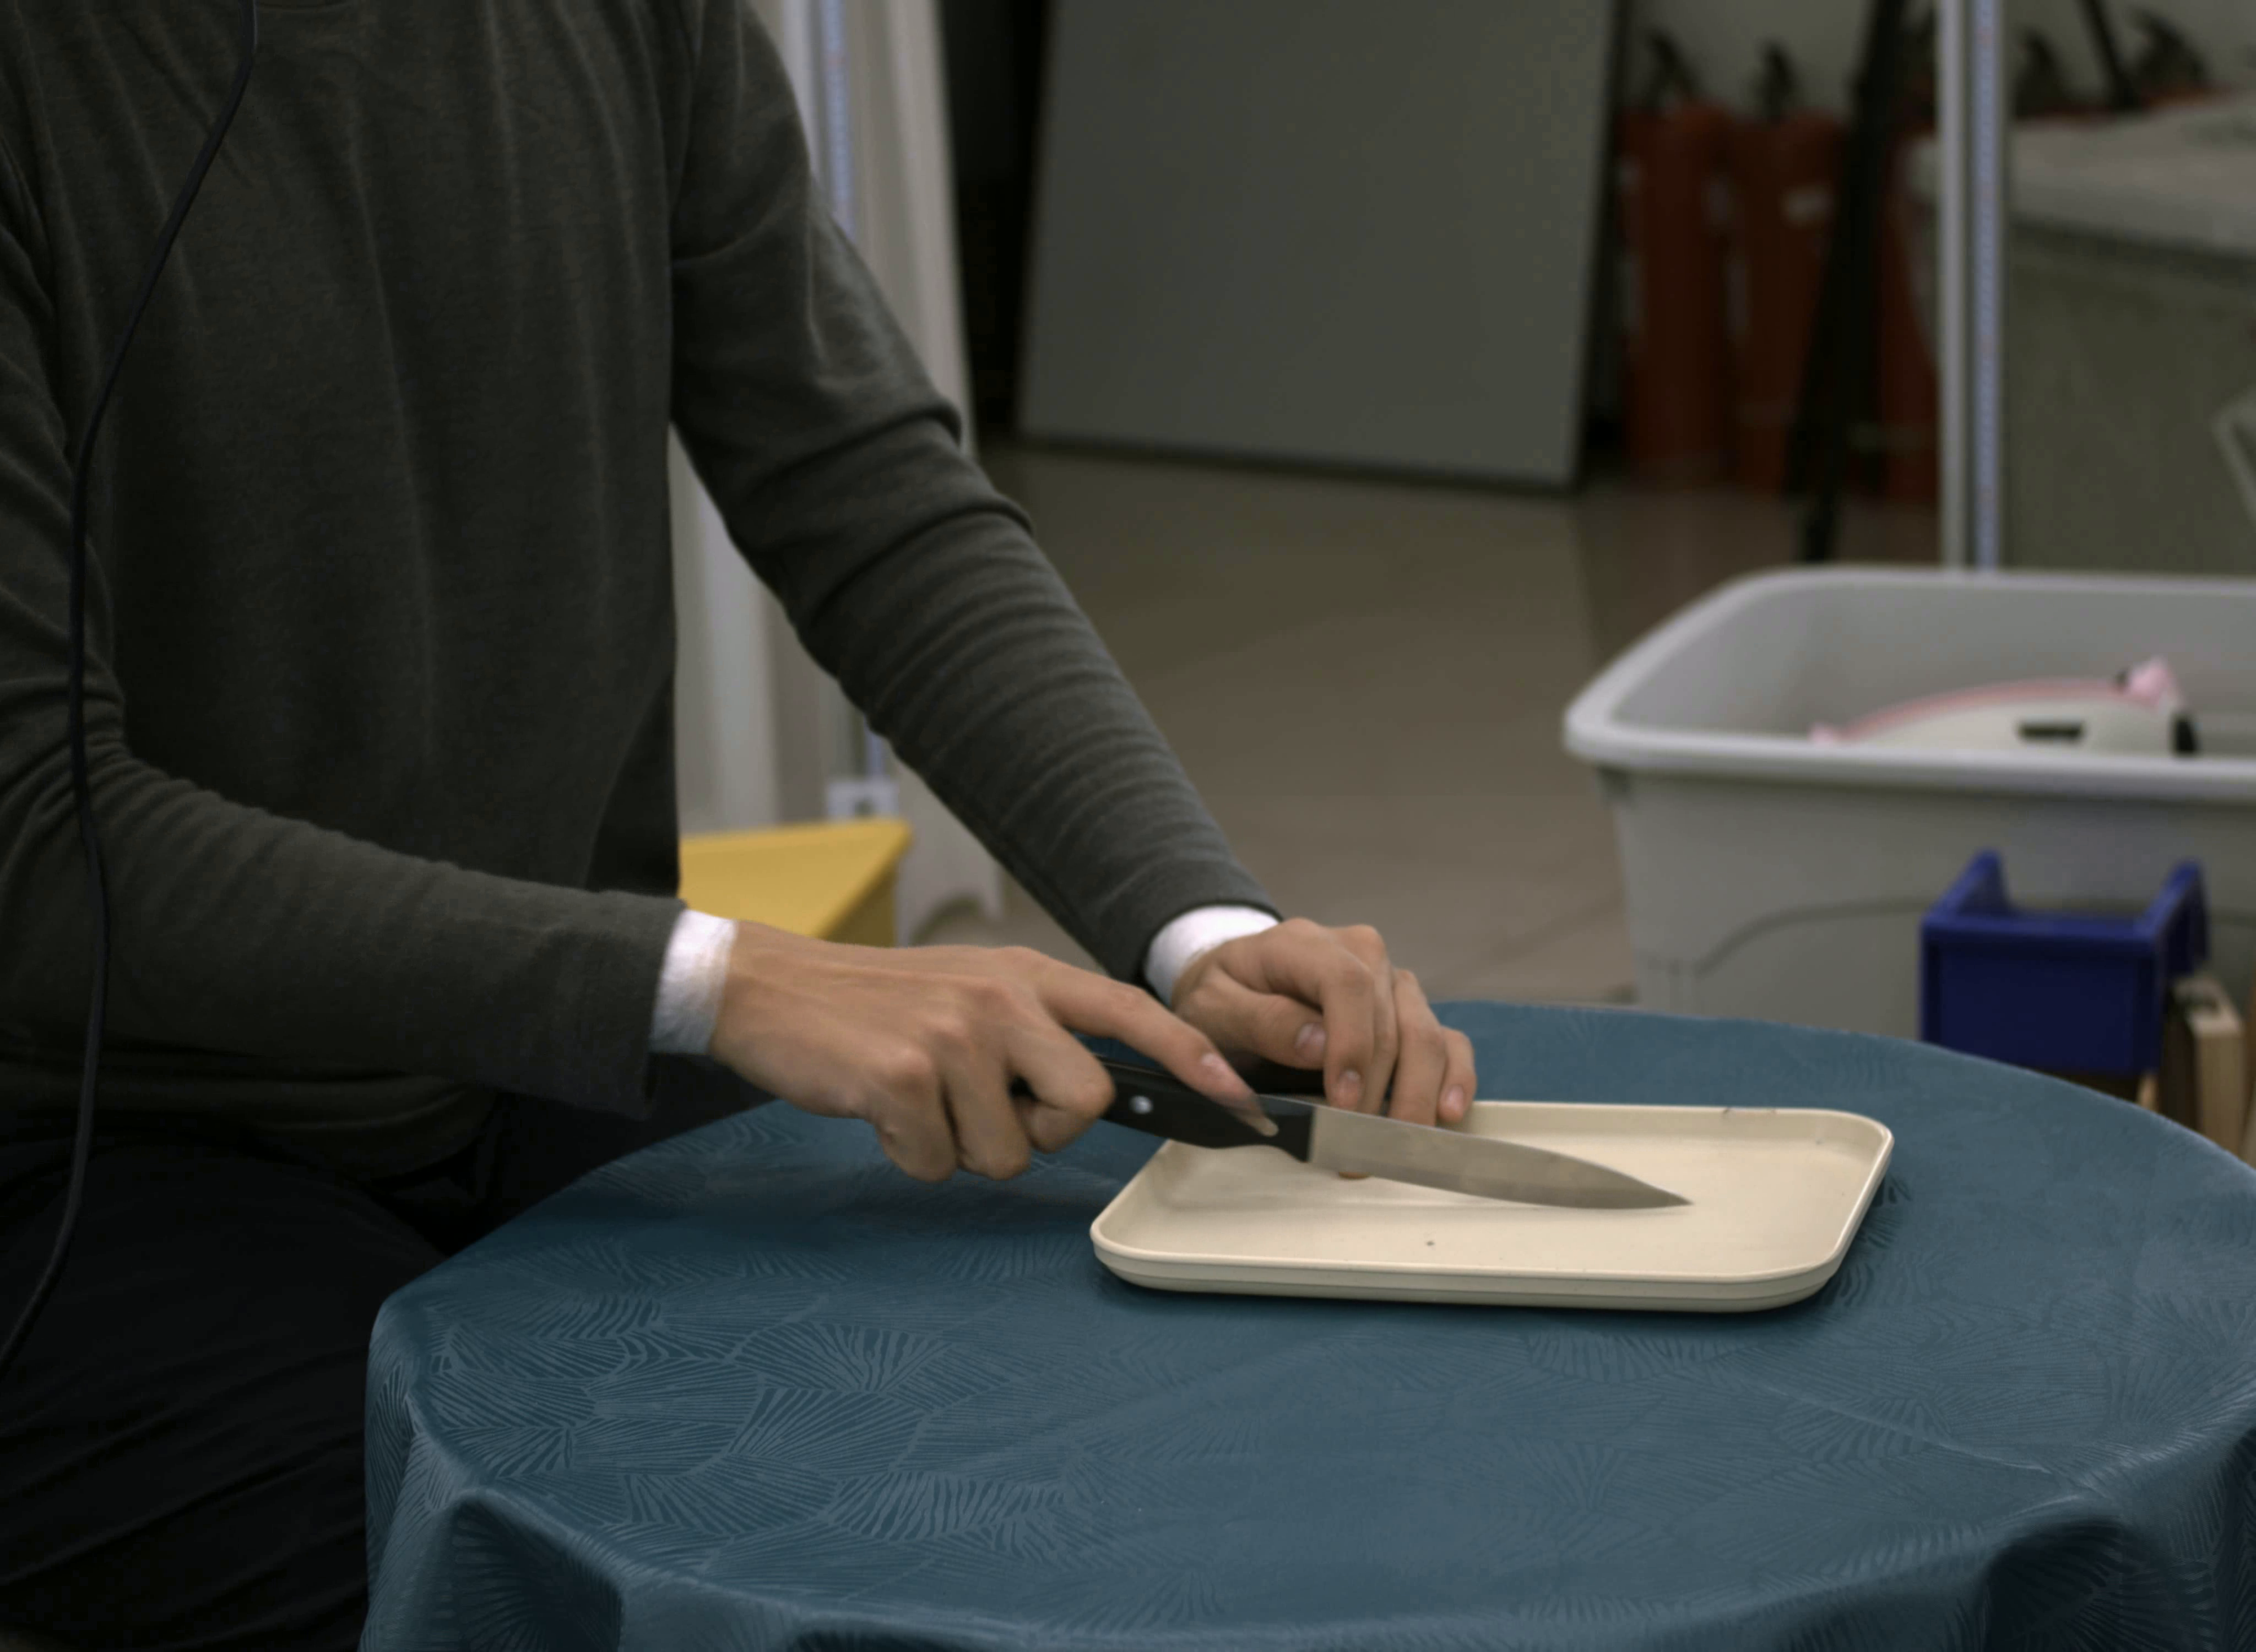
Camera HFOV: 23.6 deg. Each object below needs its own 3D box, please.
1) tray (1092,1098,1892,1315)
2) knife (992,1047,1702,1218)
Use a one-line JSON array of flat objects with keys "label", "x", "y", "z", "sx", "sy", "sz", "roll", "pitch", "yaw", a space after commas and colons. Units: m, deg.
[{"label": "tray", "x": 0.117, "y": 0.120, "z": 1.708, "sx": 0.239, "sy": 0.017, "sz": 0.170, "roll": 0, "pitch": 15, "yaw": 18}, {"label": "knife", "x": 0.070, "y": 0.100, "z": 1.731, "sx": 0.237, "sy": 0.025, "sz": 0.016, "roll": 11, "pitch": 24, "yaw": 14}]
